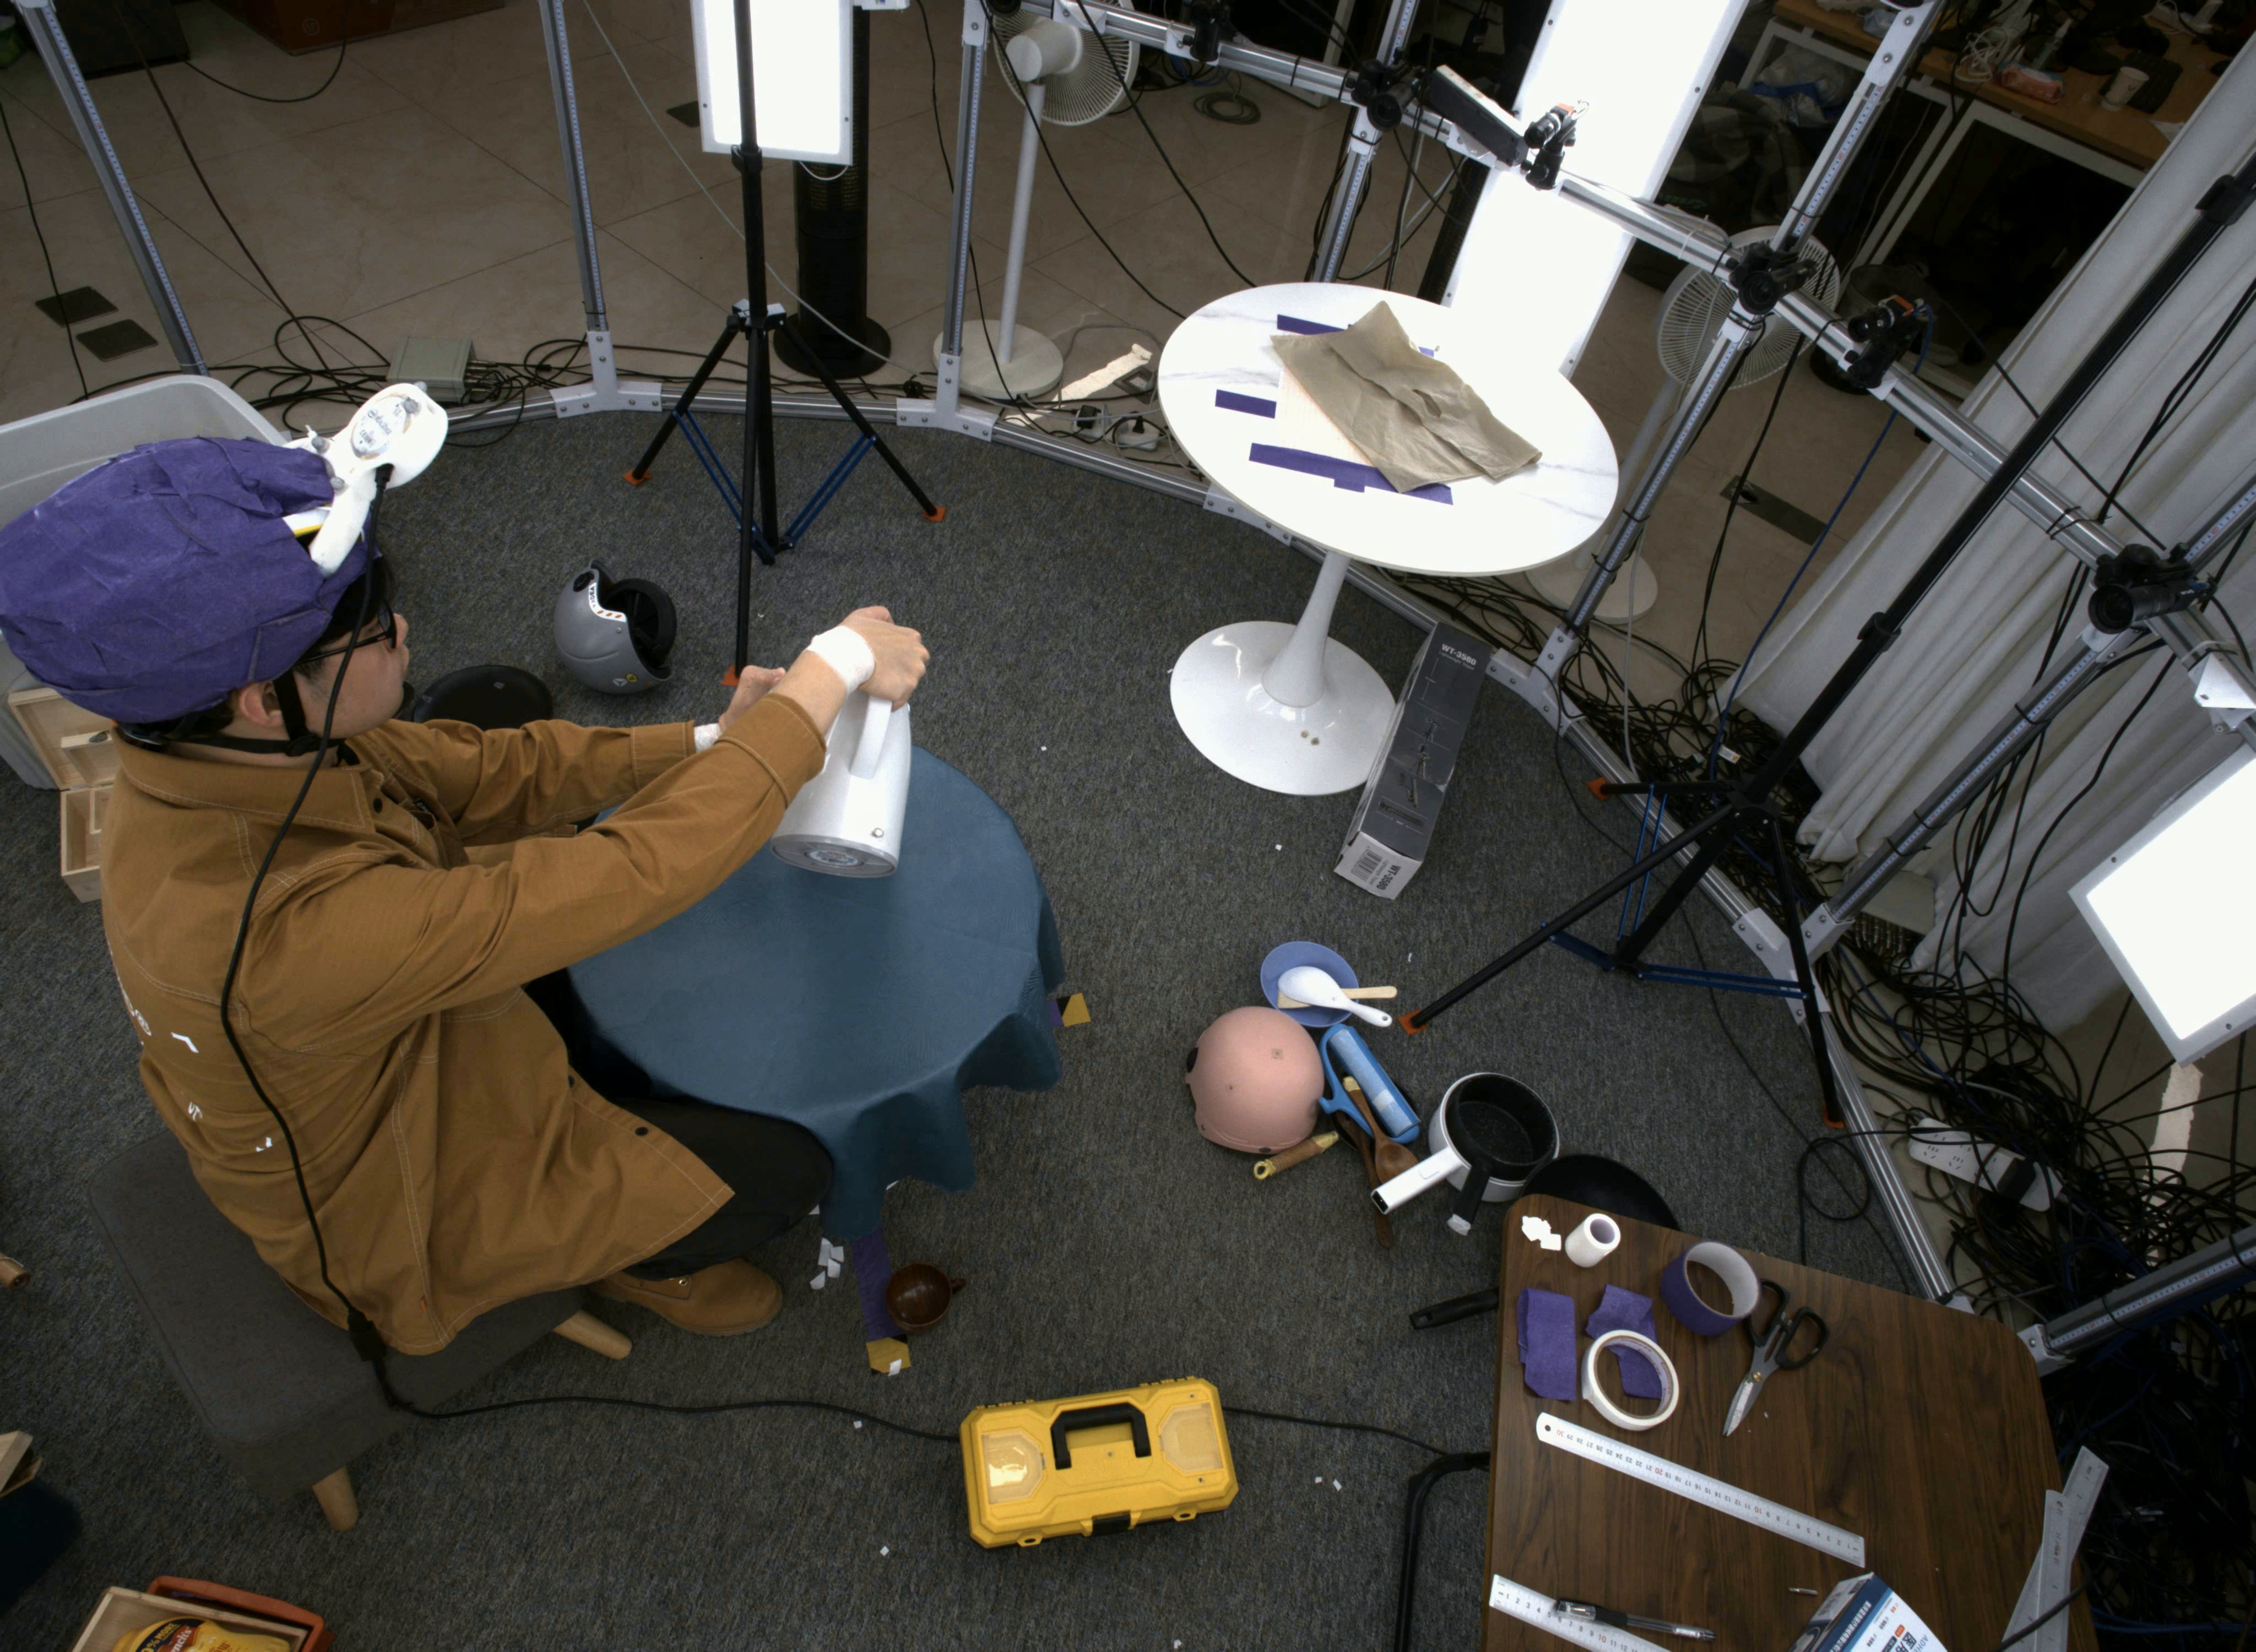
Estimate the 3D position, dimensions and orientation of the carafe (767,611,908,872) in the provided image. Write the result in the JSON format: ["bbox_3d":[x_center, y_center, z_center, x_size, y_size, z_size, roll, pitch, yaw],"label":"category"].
[{"bbox_3d":[-0.286,-0.095,1.351,0.134,0.165,0.248,13,73,-24],"label":"carafe"}]

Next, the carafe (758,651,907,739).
[{"bbox_3d":[-0.366,-0.103,1.598,0.173,0.271,0.122,11,63,-9],"label":"carafe"}]
